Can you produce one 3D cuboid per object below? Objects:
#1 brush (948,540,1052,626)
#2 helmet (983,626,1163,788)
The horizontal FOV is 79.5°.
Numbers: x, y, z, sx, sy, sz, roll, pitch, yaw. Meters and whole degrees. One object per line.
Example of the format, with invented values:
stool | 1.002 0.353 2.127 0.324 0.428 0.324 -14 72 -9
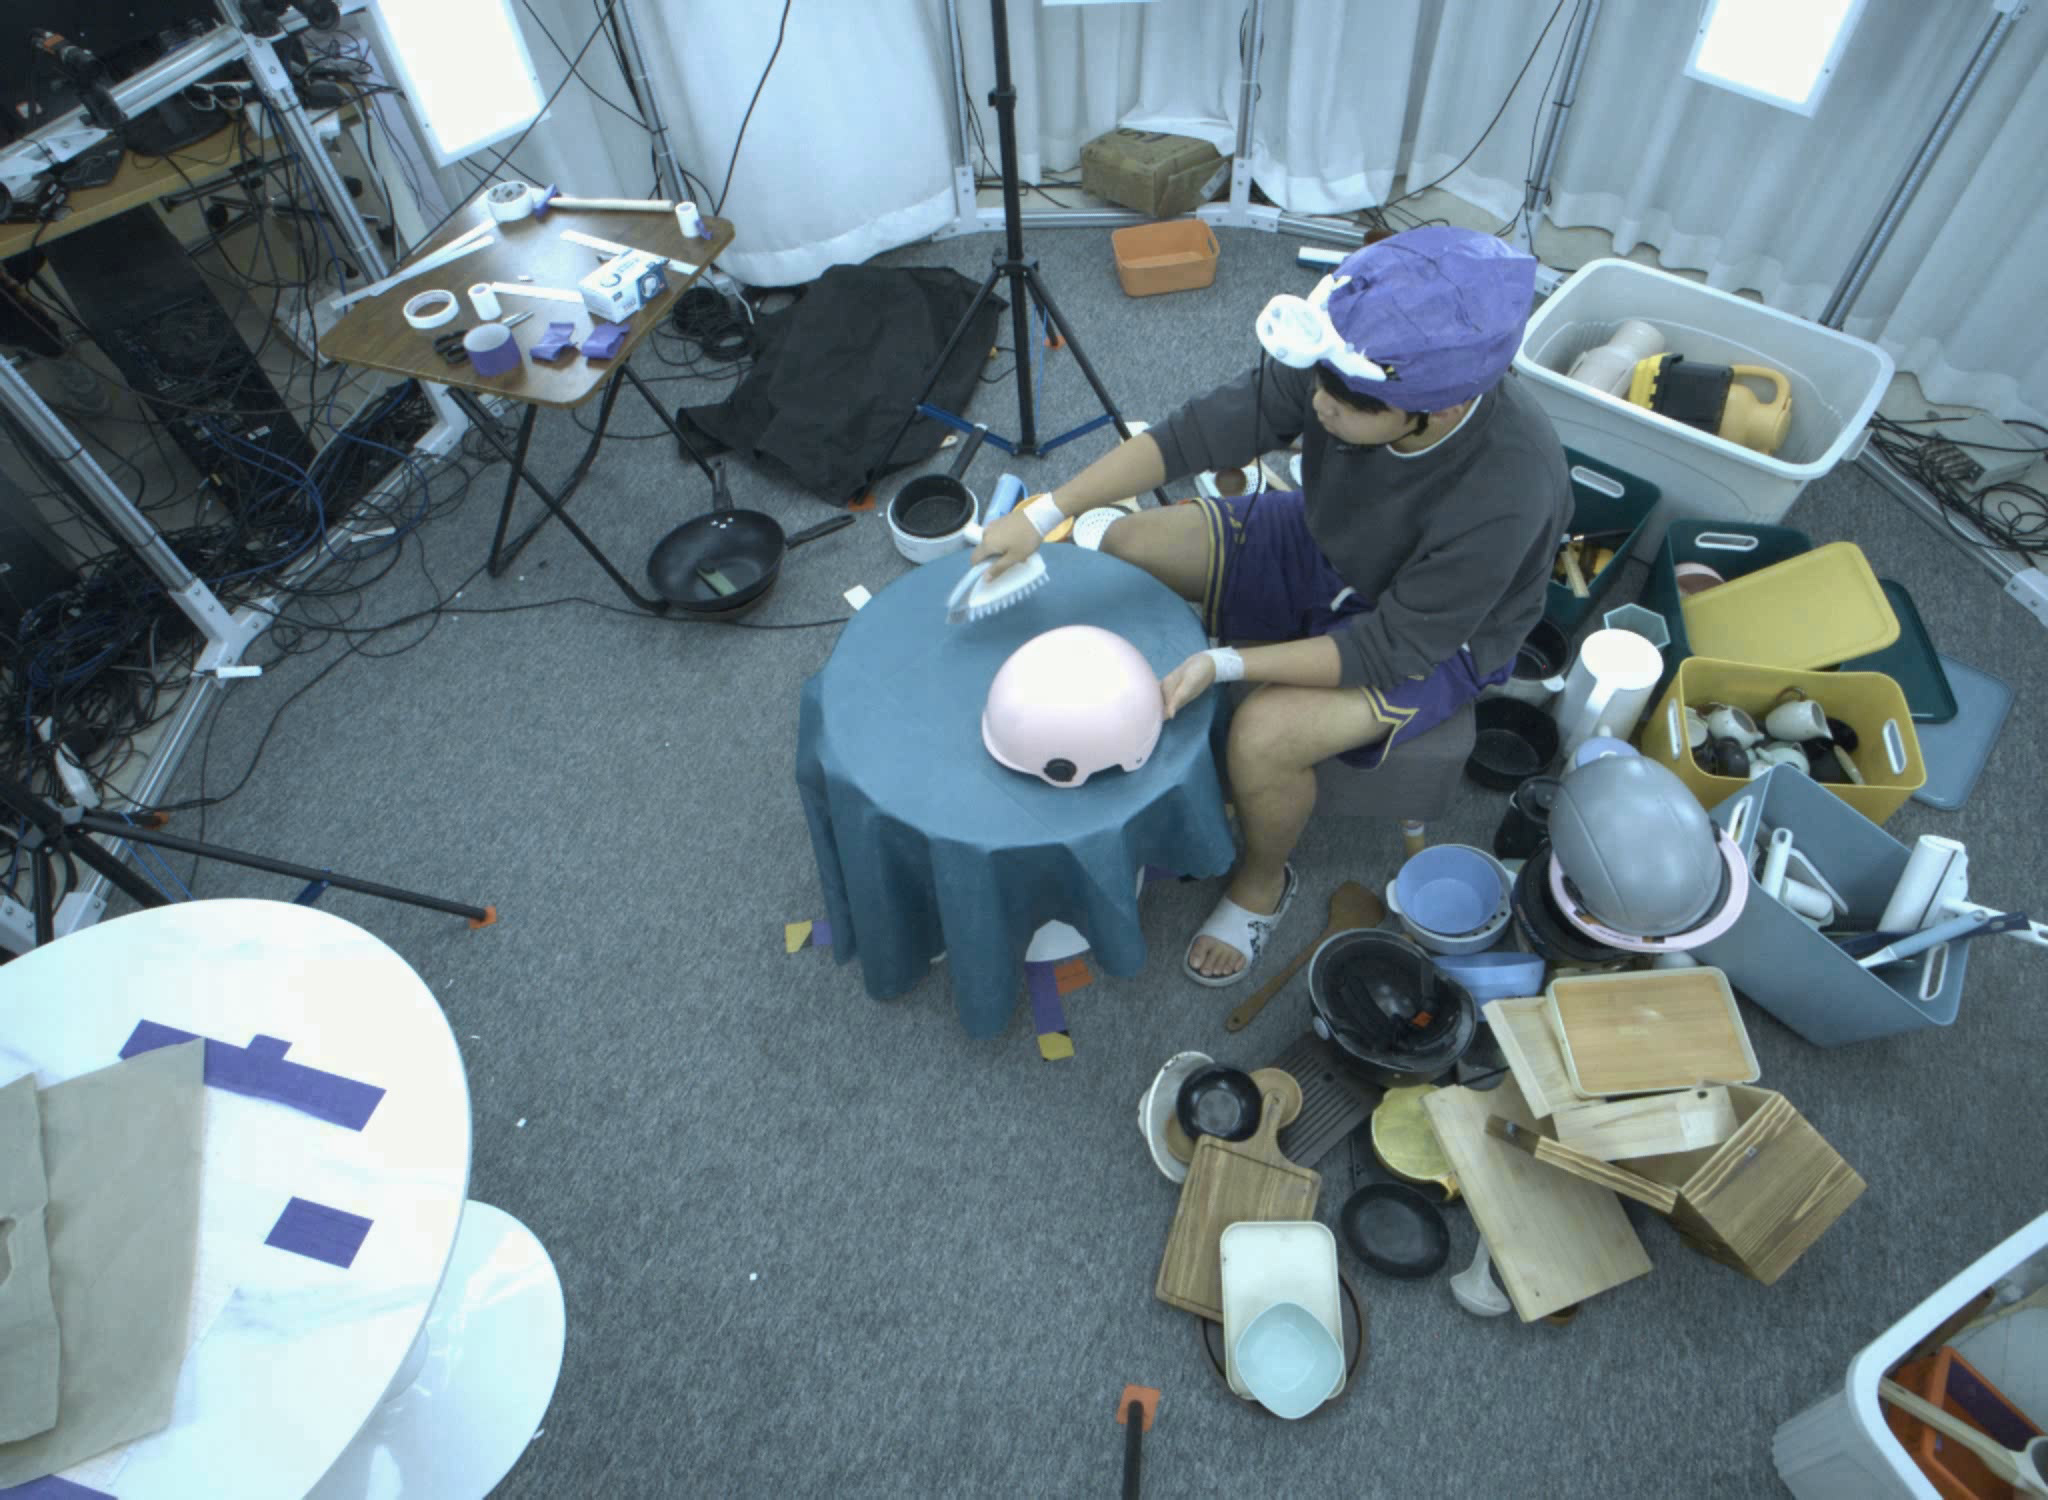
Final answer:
brush | -0.047 -0.259 1.869 0.176 0.095 0.060 -32 58 -9
helmet | 0.063 -0.081 1.753 0.266 0.161 0.231 -8 55 1
